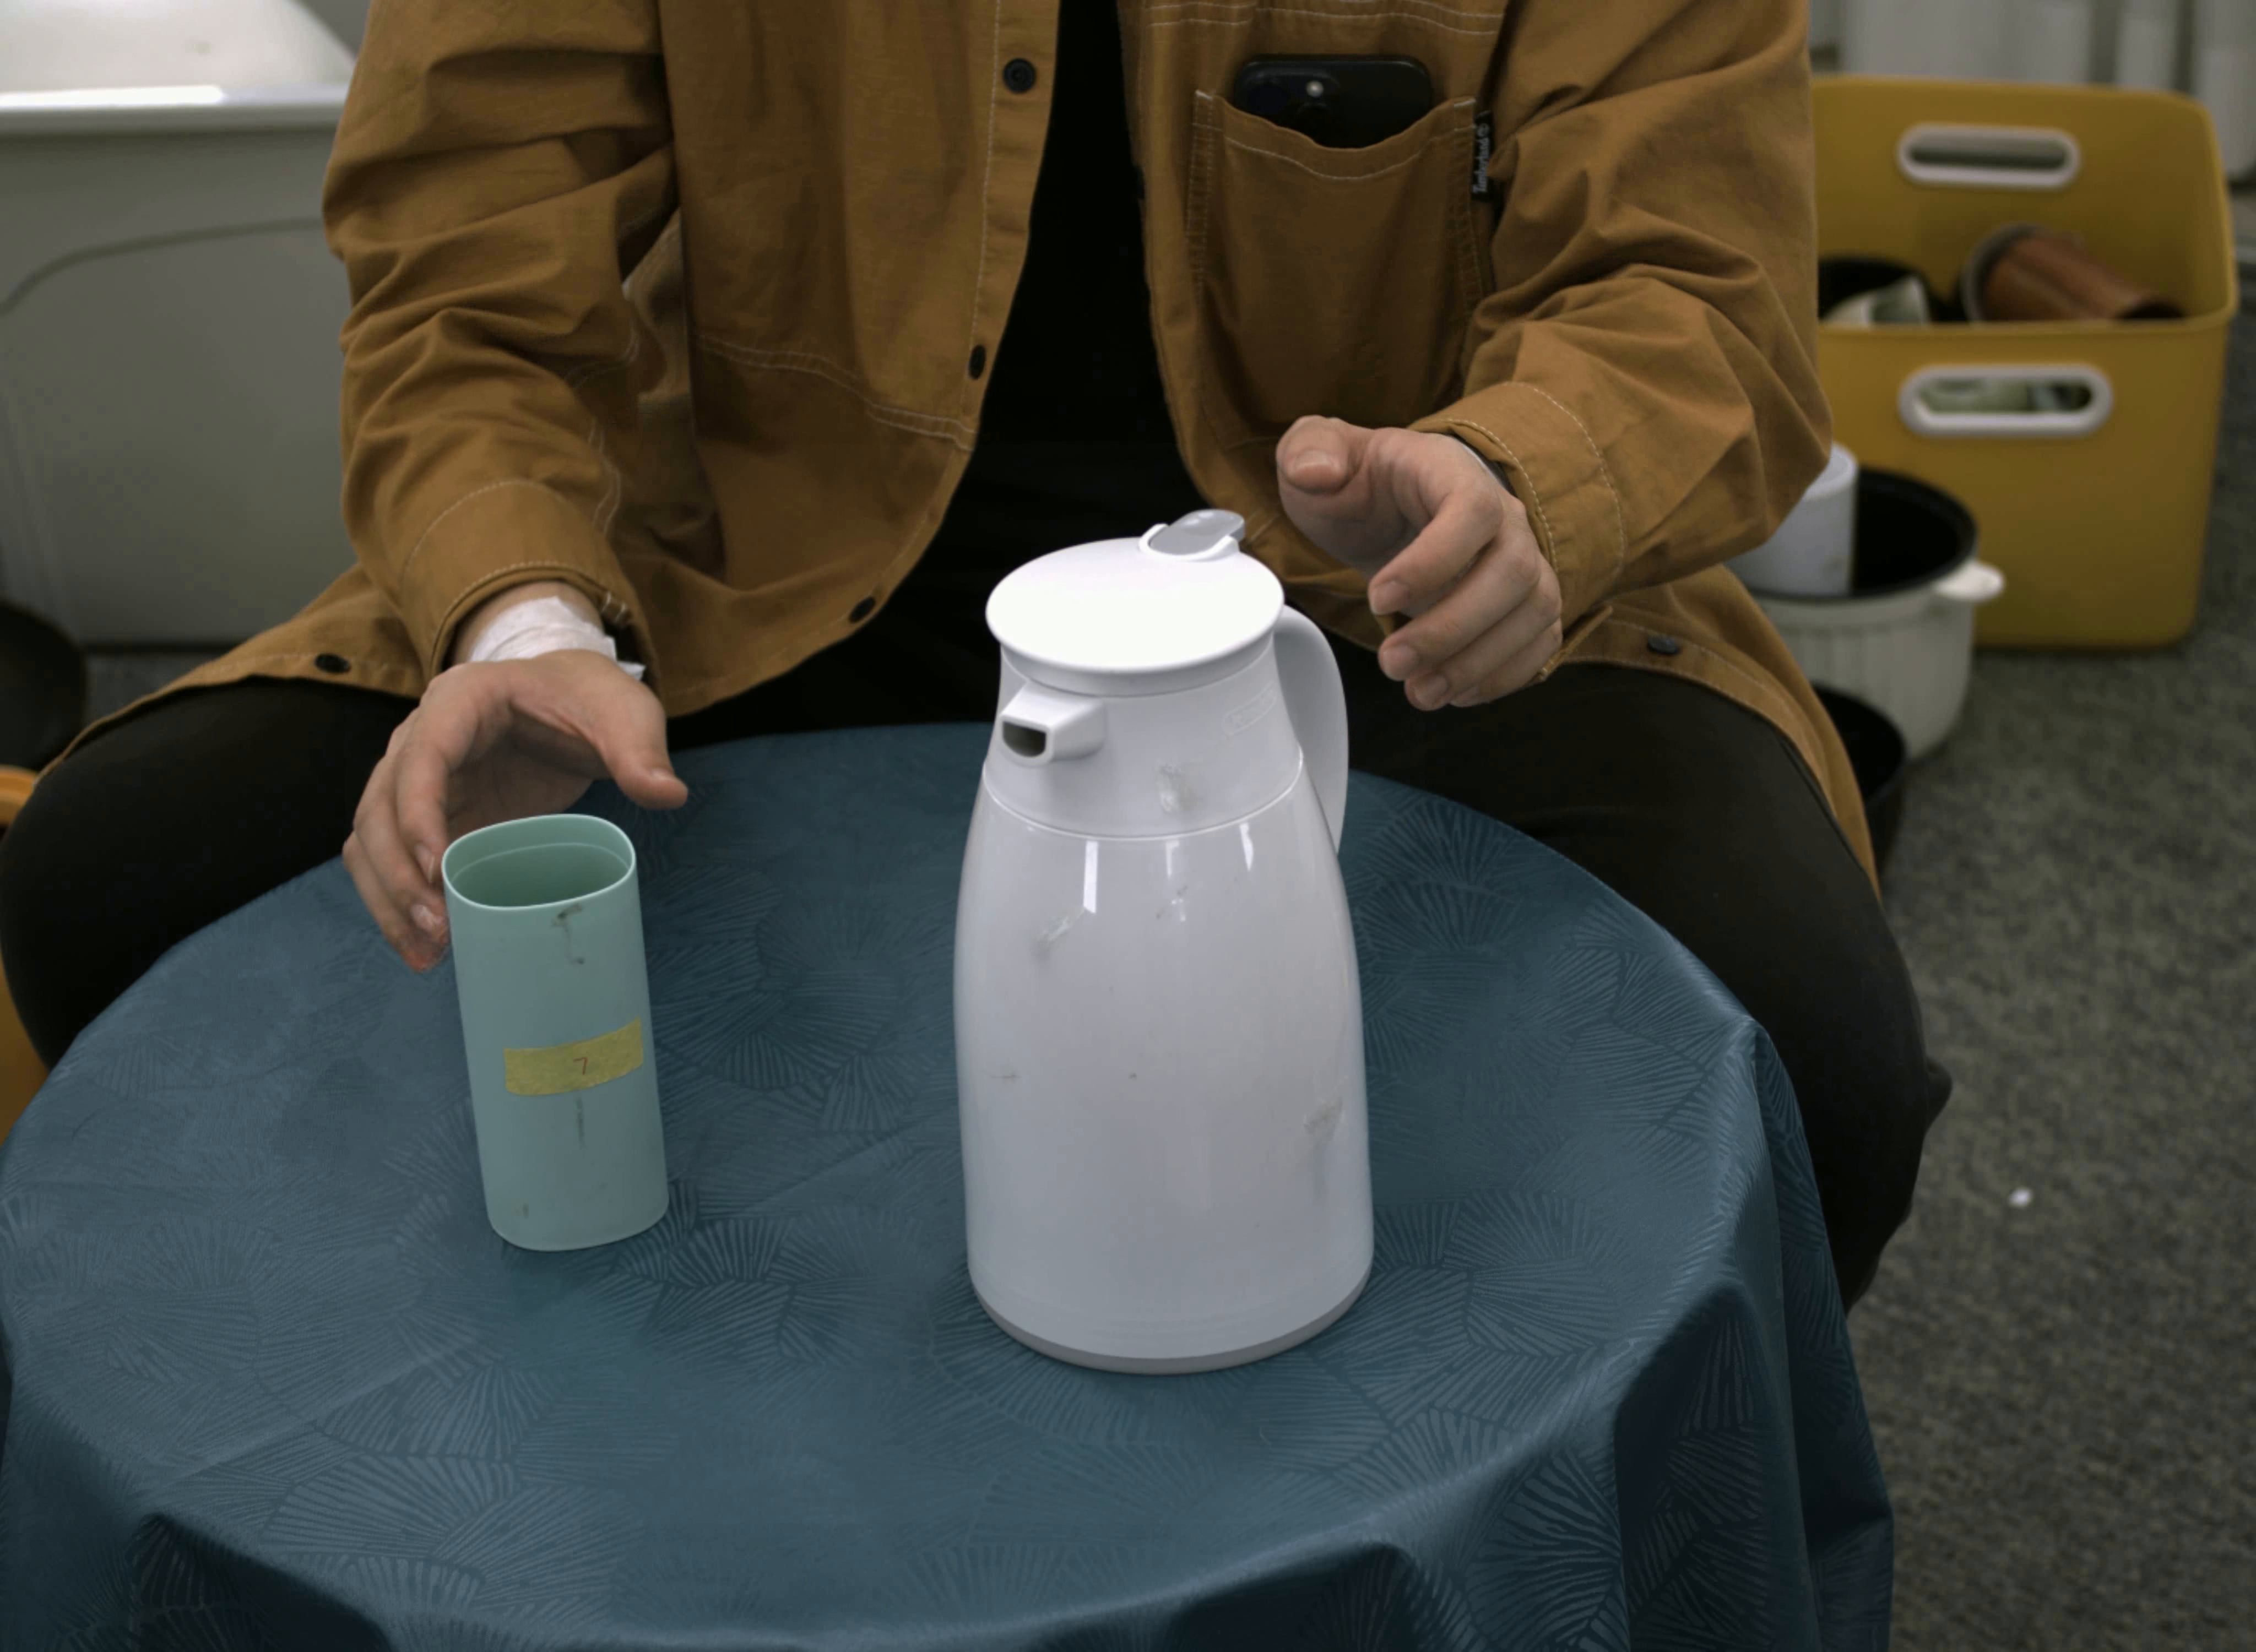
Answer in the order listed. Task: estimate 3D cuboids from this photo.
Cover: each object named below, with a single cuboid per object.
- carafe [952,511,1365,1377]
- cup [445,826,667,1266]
[{"bbox_3d":[0.018,0.026,1.780,0.132,0.246,0.170,15,31,30],"label":"carafe"},{"bbox_3d":[-0.187,0.072,1.841,0.066,0.131,0.068,-2,26,1],"label":"cup"}]
